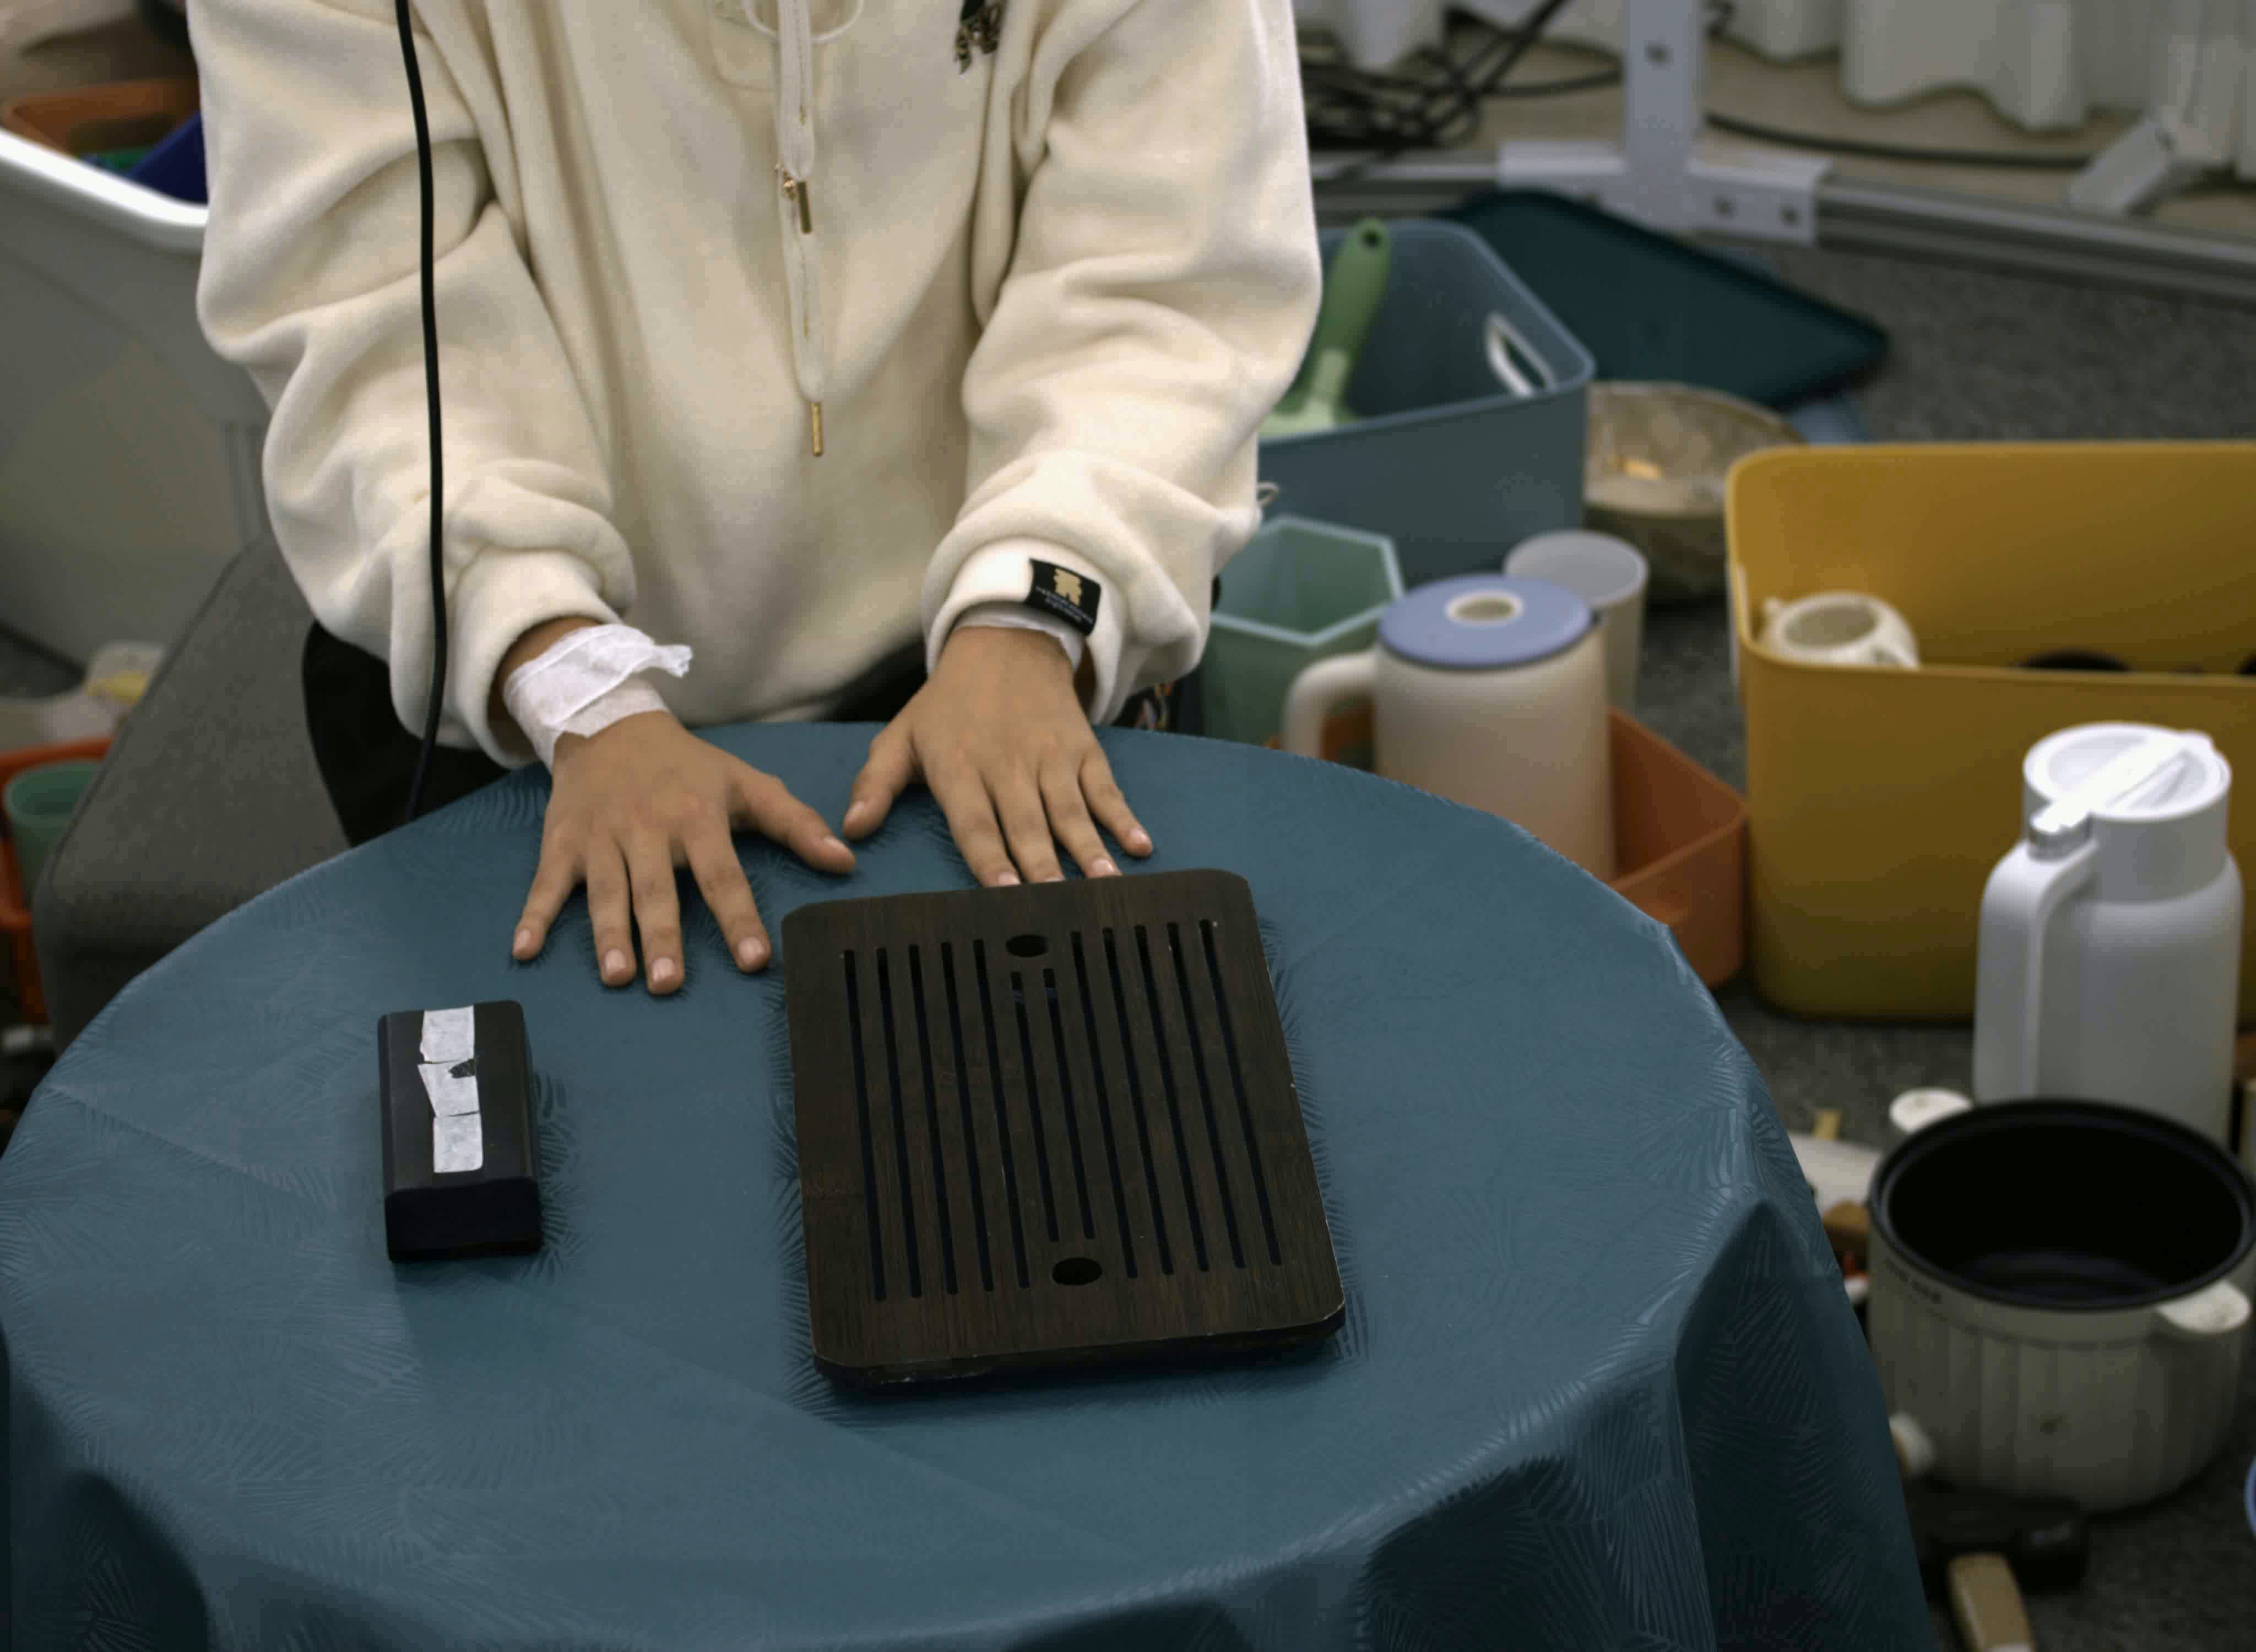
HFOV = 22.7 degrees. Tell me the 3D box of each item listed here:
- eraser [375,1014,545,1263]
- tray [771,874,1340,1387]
[{"bbox_3d":[-0.225,0.105,1.888,0.053,0.030,0.127,-4,26,-7],"label":"eraser"},{"bbox_3d":[-0.030,0.100,1.887,0.169,0.018,0.310,-5,27,-4],"label":"tray"}]
